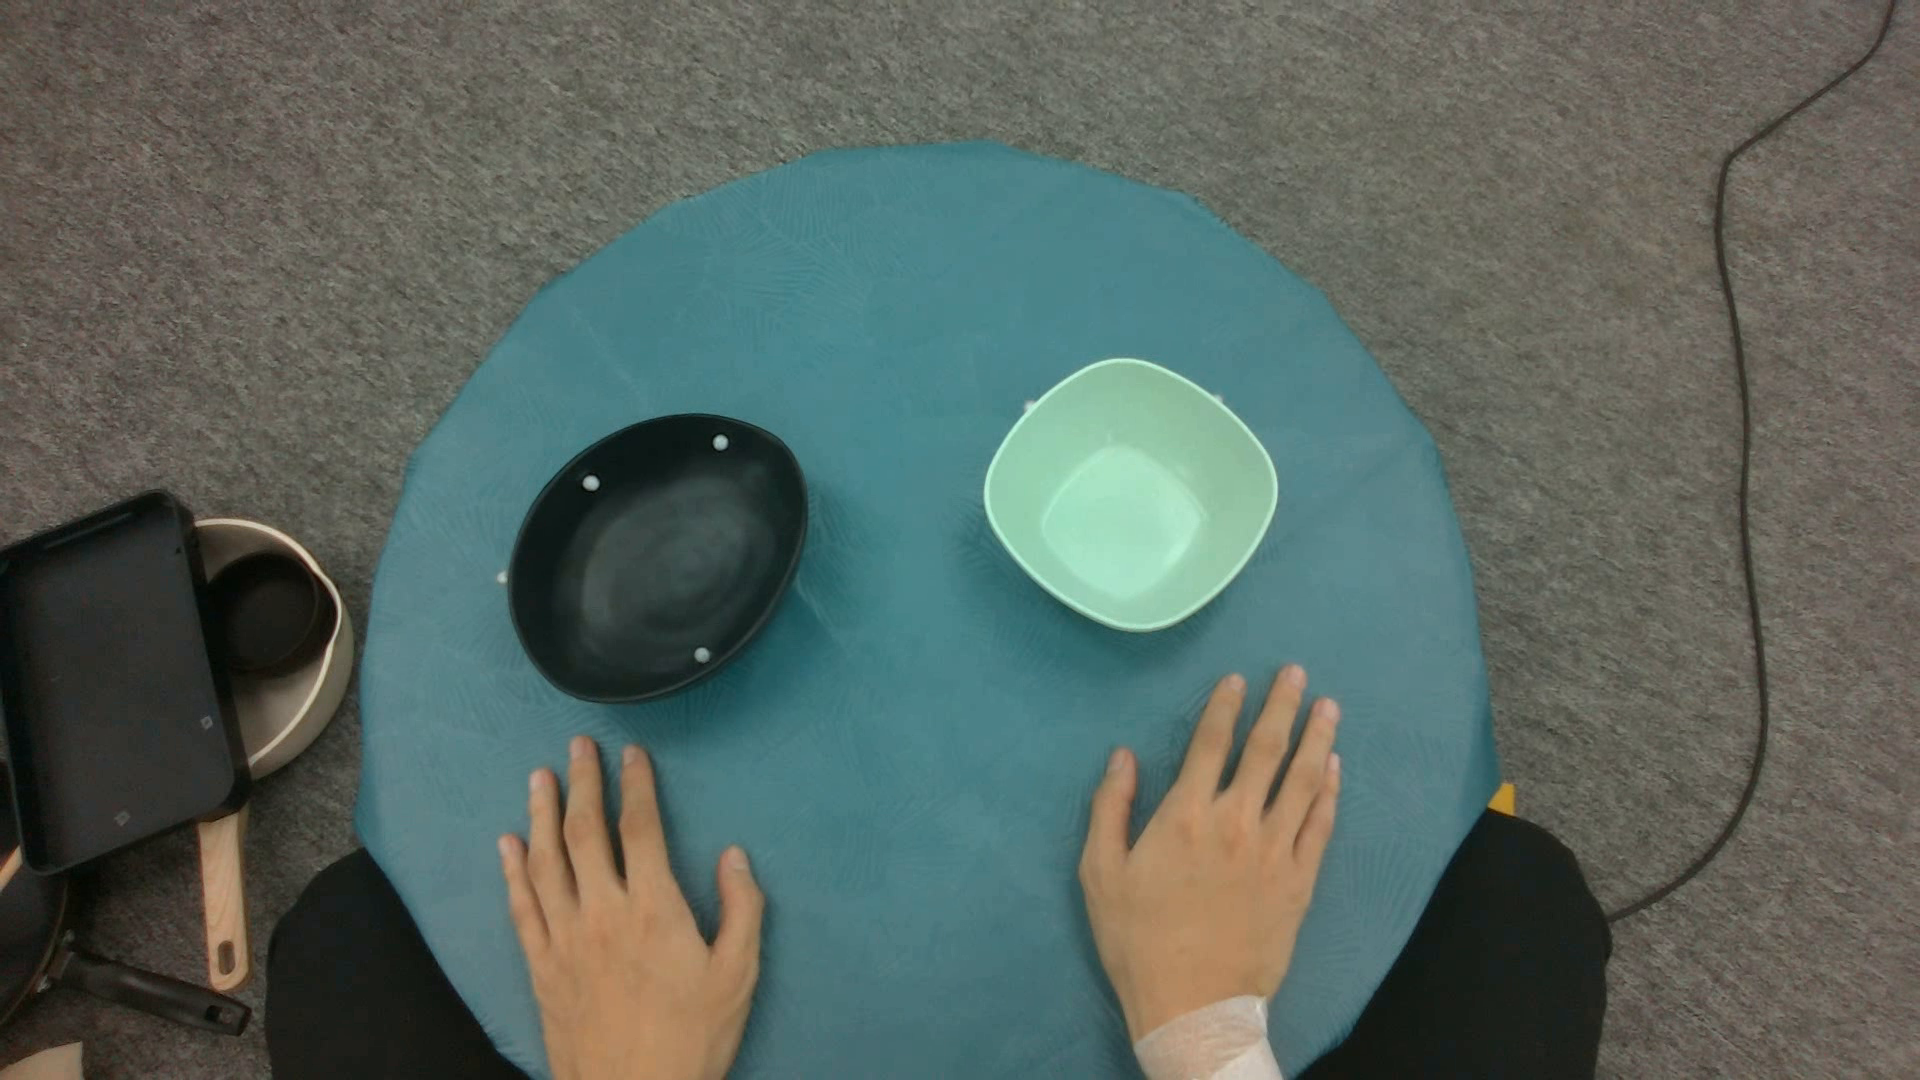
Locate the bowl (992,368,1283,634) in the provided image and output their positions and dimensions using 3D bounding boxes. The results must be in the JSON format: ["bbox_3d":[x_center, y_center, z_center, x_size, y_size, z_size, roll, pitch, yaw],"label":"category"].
[{"bbox_3d":[0.094,-0.013,0.742,0.151,0.058,0.152,-1,67,3],"label":"bowl"}]

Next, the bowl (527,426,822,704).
[{"bbox_3d":[-0.147,0.016,0.738,0.137,0.066,0.171,34,72,14],"label":"bowl"}]
